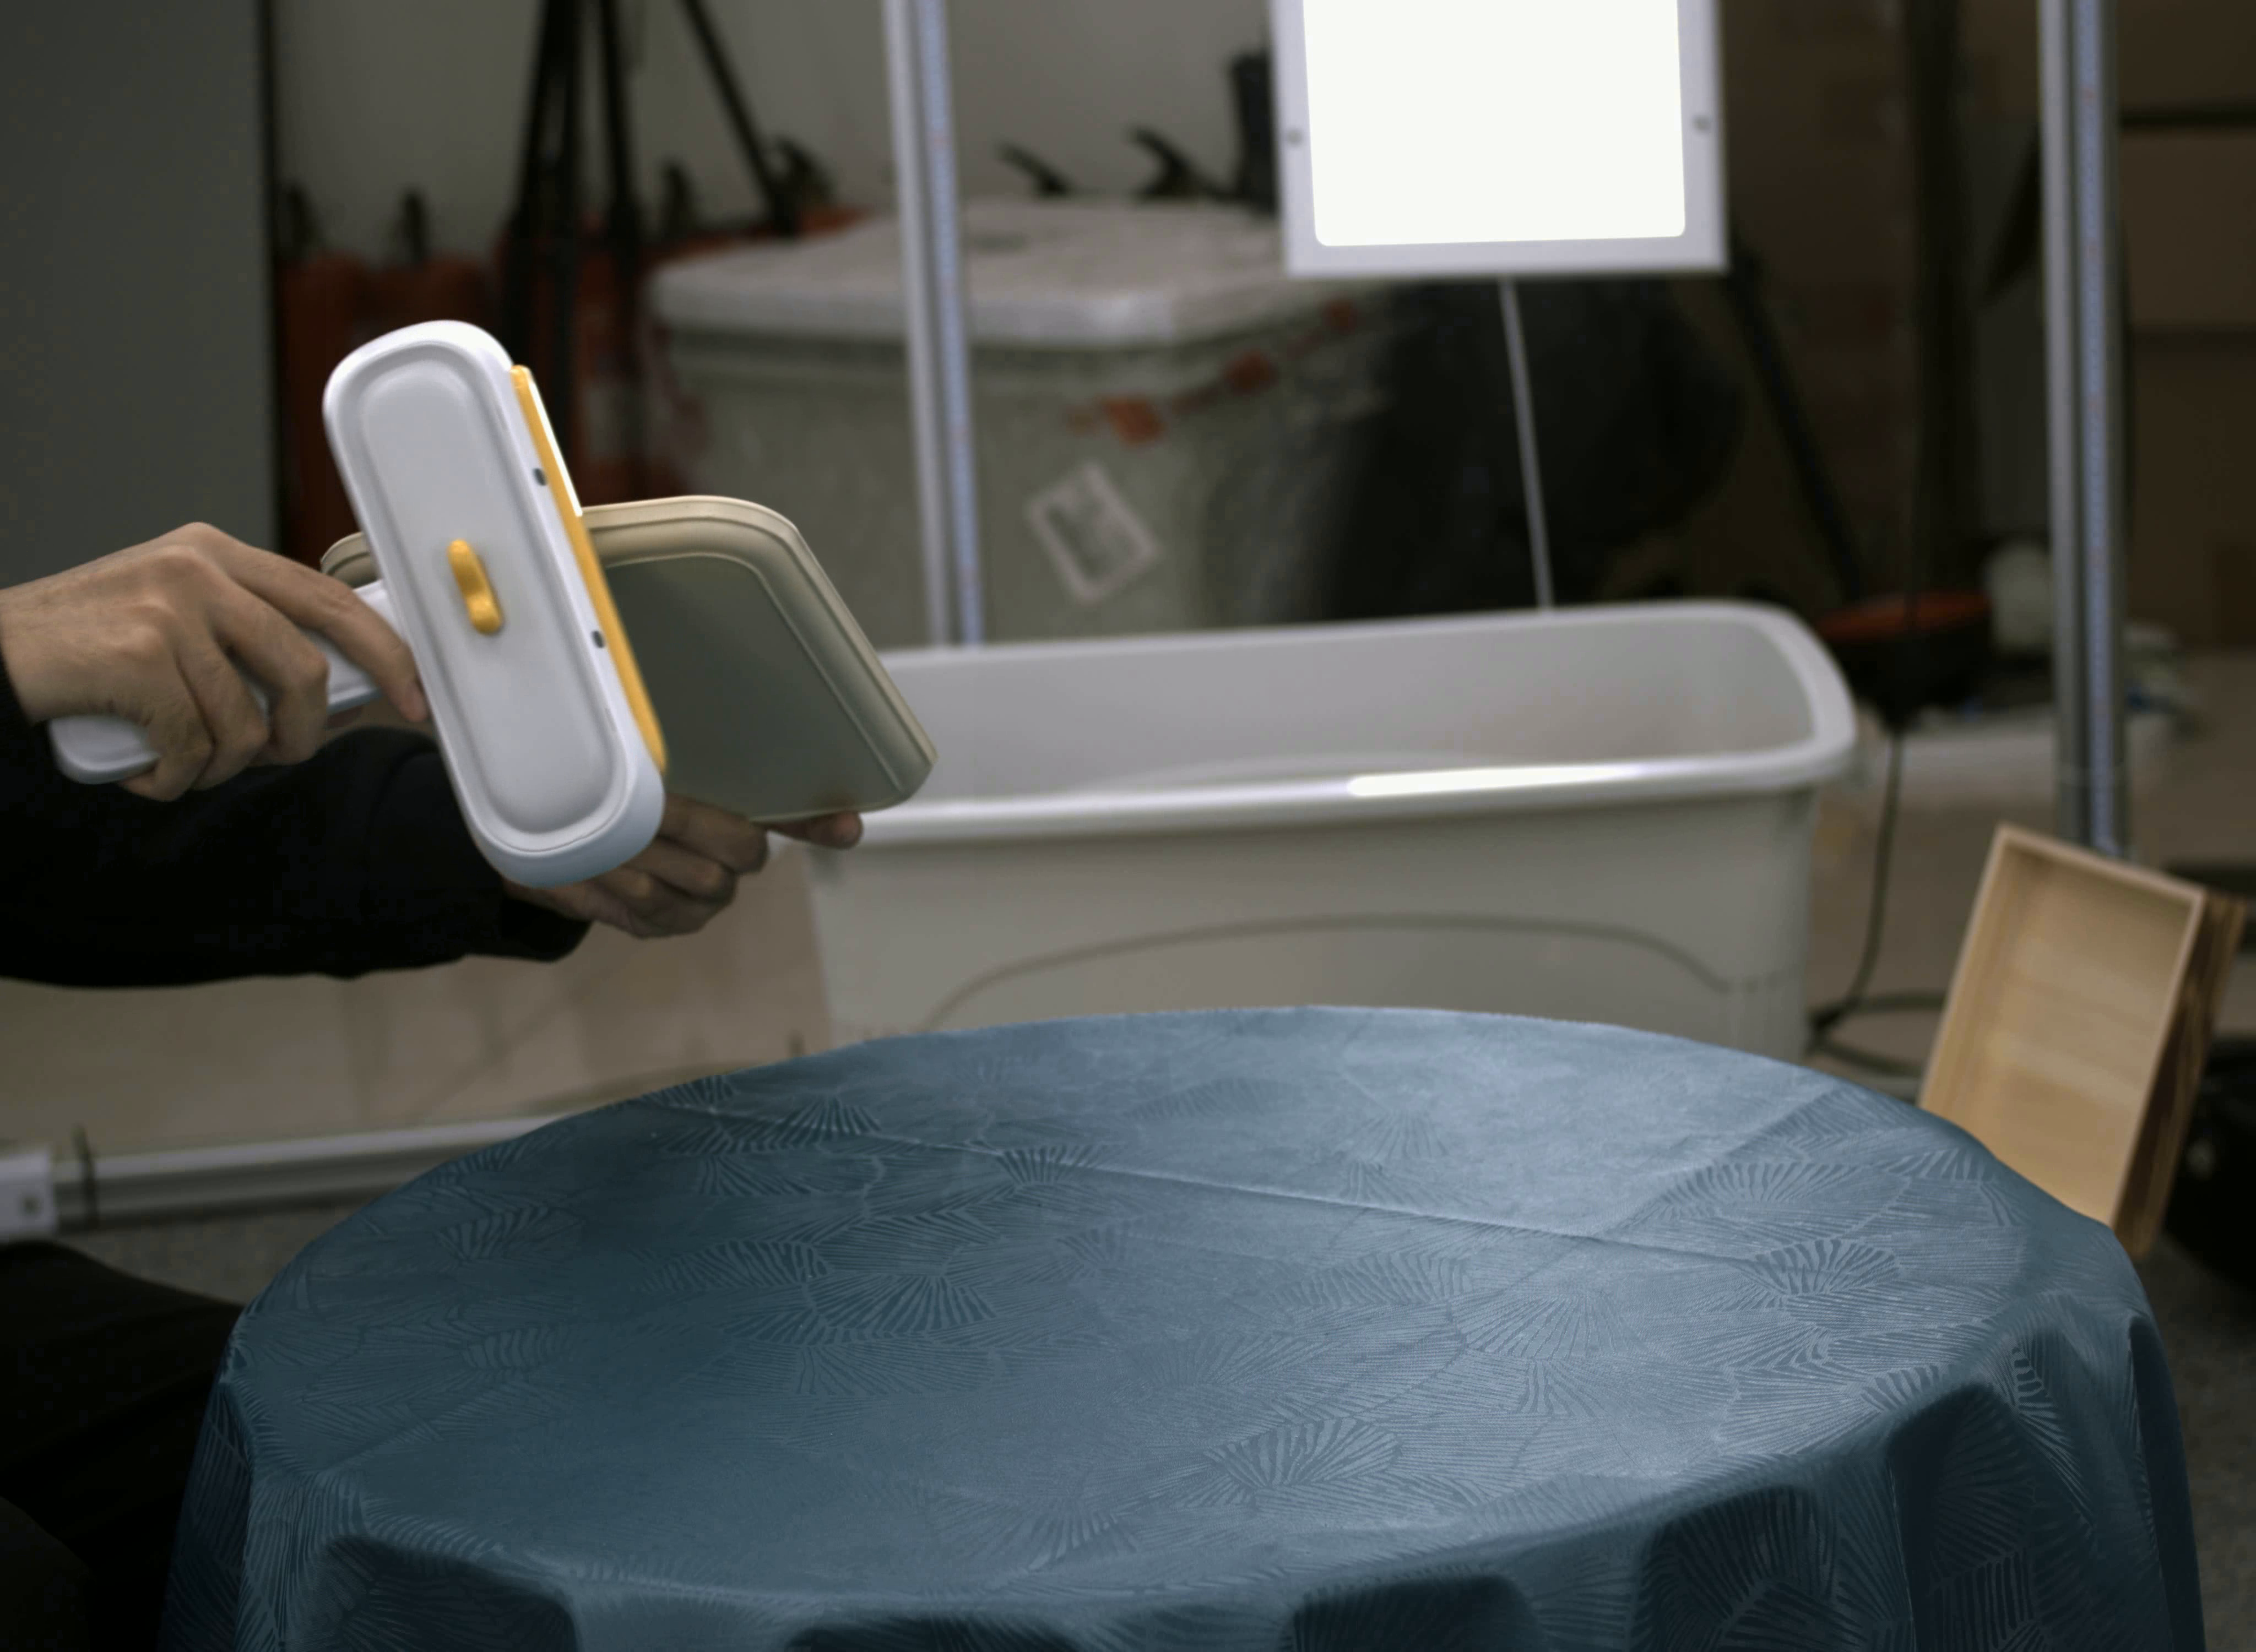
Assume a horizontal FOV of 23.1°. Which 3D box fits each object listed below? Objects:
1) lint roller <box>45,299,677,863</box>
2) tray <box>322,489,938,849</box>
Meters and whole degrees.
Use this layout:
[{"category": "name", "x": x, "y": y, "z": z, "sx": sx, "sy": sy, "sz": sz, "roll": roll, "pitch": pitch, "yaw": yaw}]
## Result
[{"category": "lint roller", "x": -0.263, "y": -0.058, "z": 1.814, "sx": 0.191, "sy": 0.193, "sz": 0.074, "roll": -24, "pitch": 1, "yaw": -5}, {"category": "tray", "x": -0.173, "y": -0.049, "z": 1.954, "sx": 0.173, "sy": 0.017, "sz": 0.238, "roll": -6, "pitch": -26, "yaw": 13}]
